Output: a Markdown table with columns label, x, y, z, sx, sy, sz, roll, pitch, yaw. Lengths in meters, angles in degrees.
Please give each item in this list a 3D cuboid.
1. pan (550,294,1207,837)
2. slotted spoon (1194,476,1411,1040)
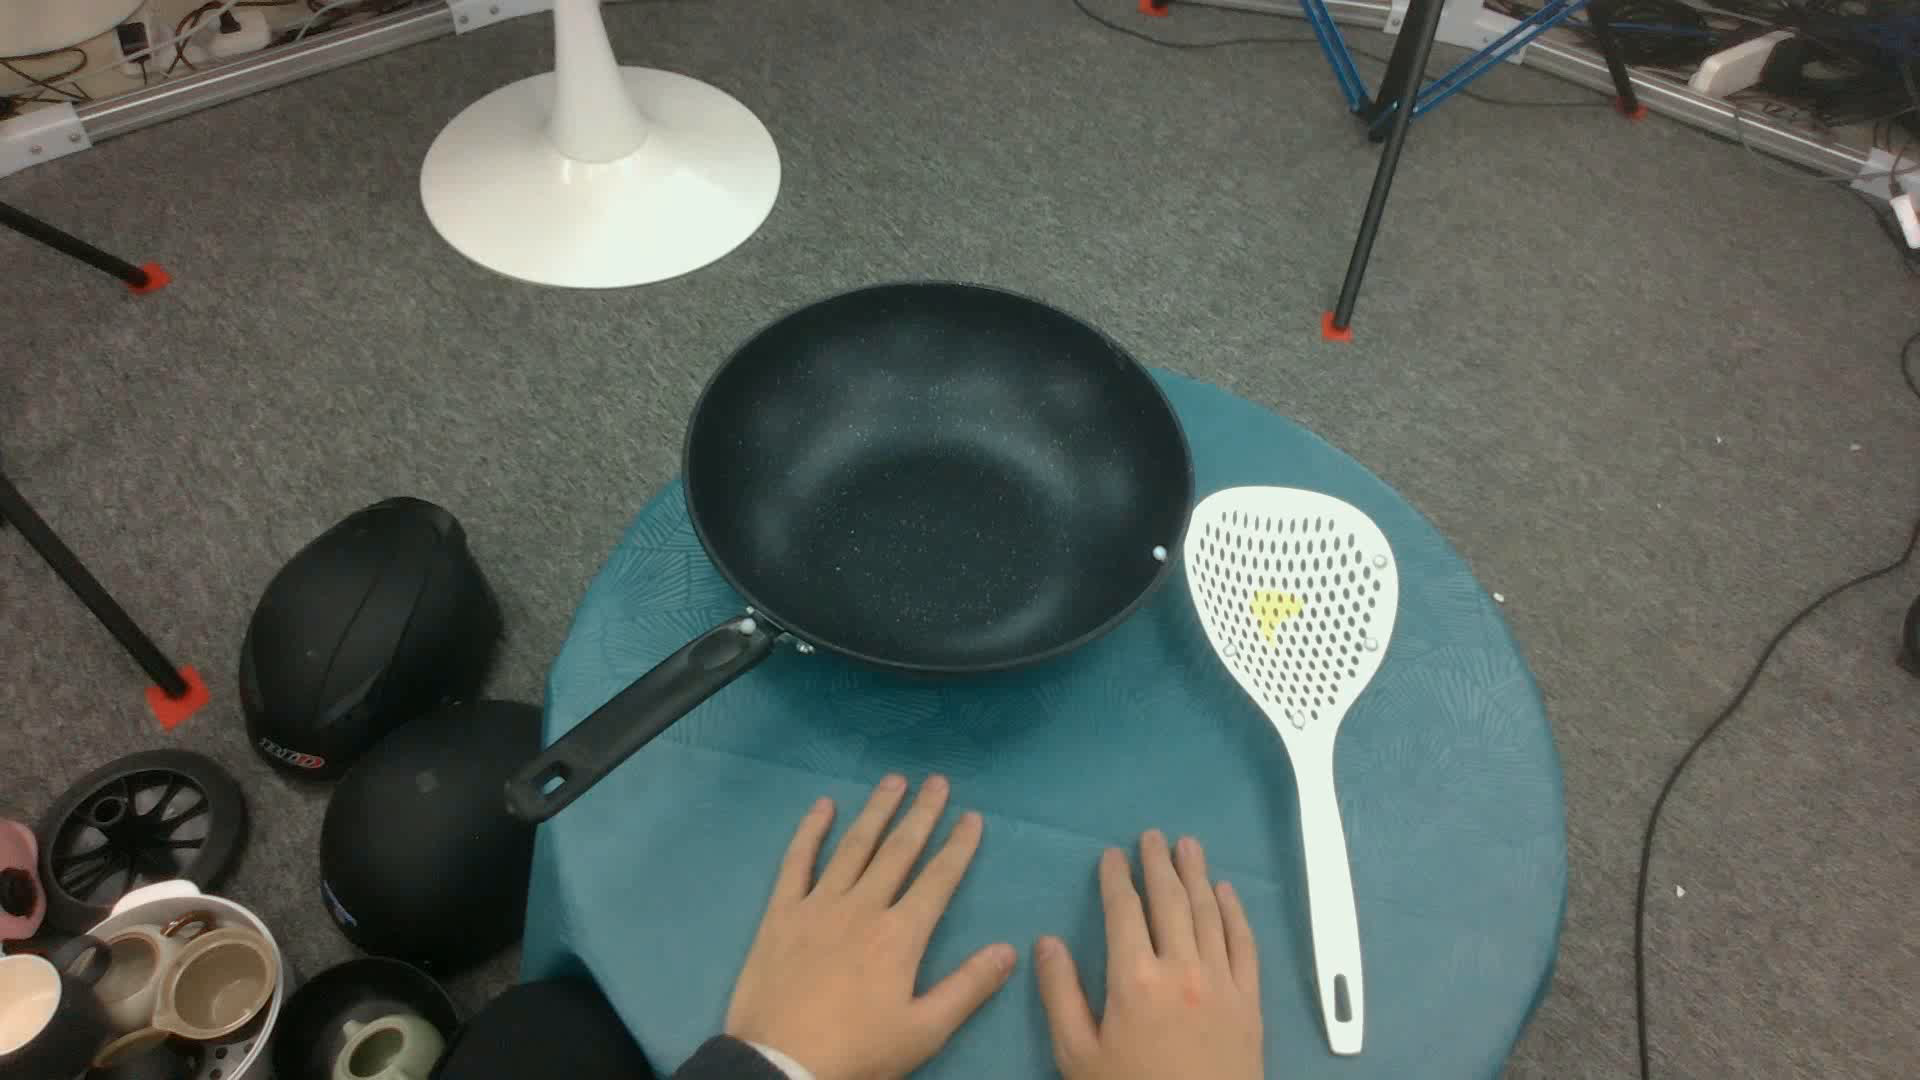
| label | x | y | z | sx | sy | sz | roll | pitch | yaw |
| --- | --- | --- | --- | --- | --- | --- | --- | --- | --- |
| pan | -0.052 | 0.021 | 0.826 | 0.310 | 0.111 | 0.479 | 29 | 56 | 21 |
| slotted spoon | 0.213 | 0.109 | 0.808 | 0.137 | 0.050 | 0.349 | 2 | 52 | -3 |
